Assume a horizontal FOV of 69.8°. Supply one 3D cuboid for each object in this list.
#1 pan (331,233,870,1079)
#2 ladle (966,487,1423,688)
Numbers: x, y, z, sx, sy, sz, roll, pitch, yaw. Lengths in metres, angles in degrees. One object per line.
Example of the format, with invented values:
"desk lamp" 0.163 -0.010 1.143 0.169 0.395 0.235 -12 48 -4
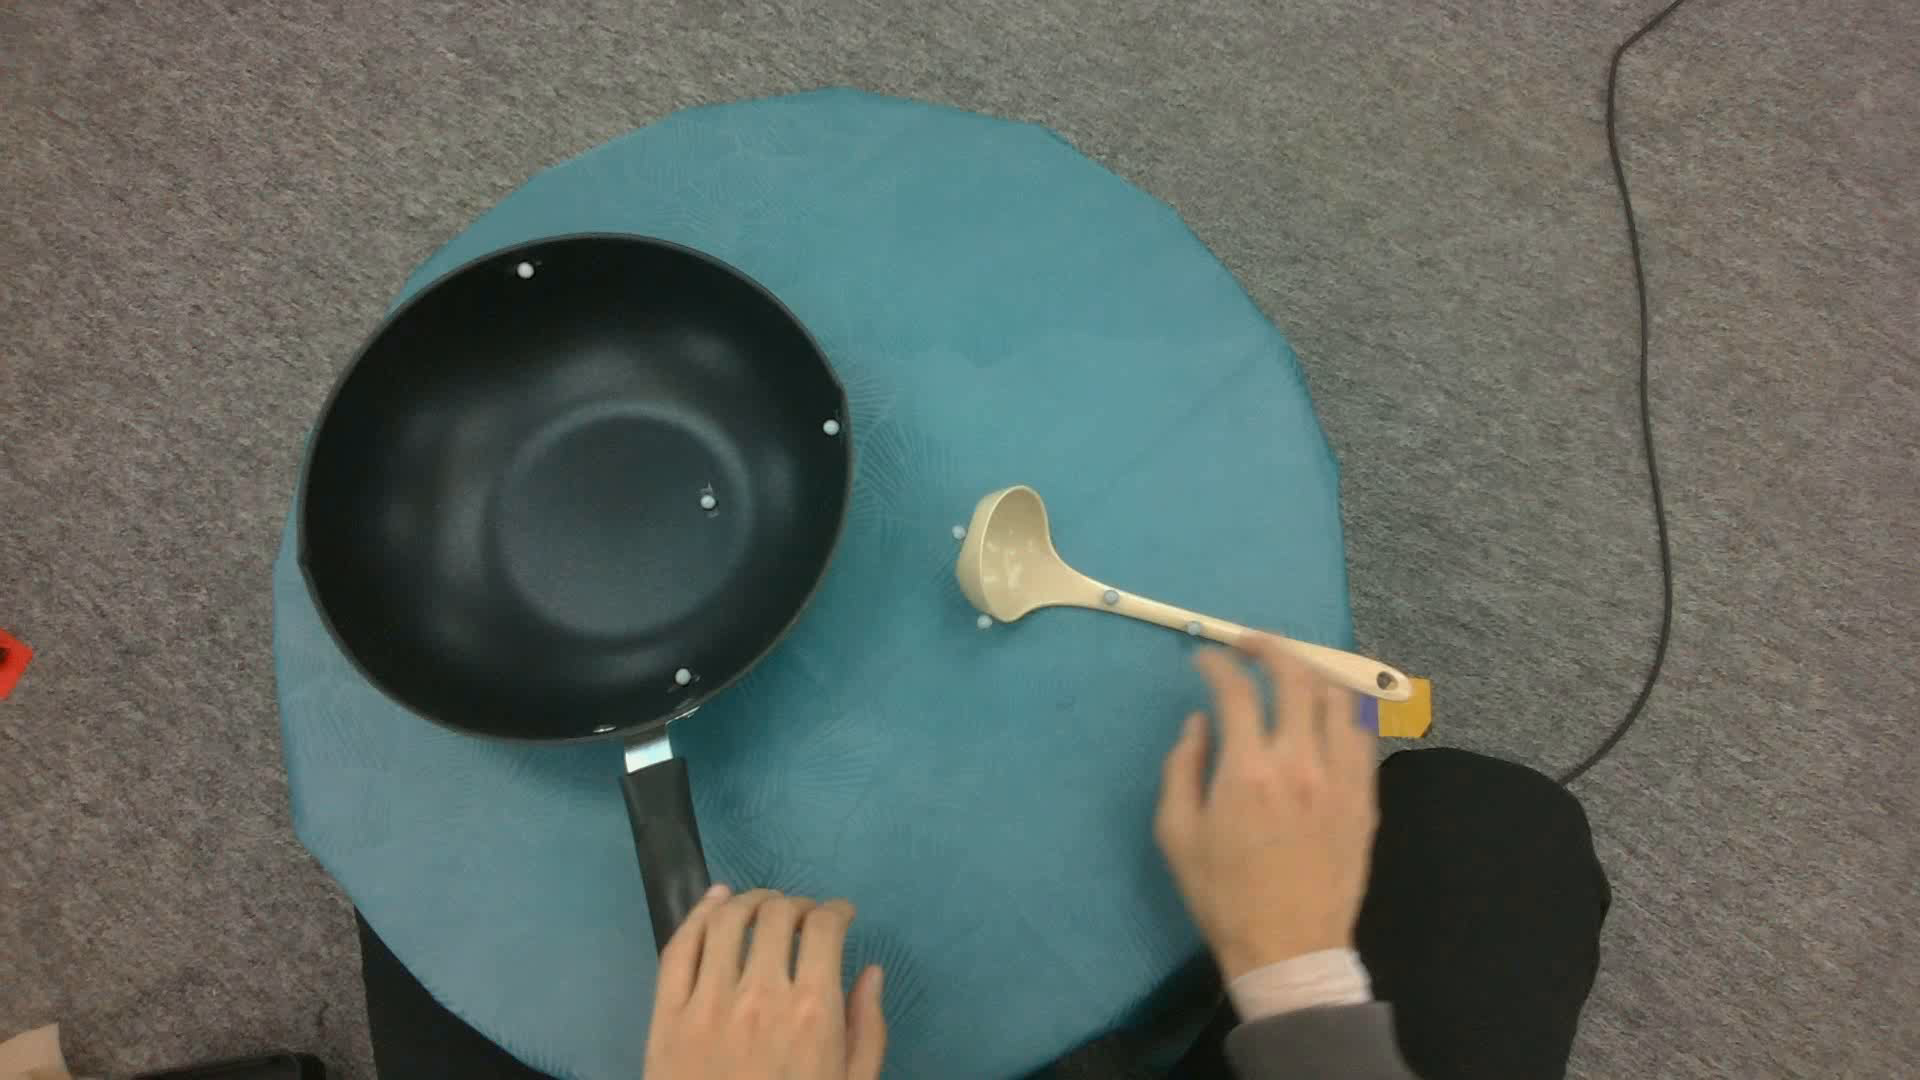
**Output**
"pan" -0.160 0.060 0.726 0.288 0.086 0.464 -17 73 -3
"ladle" 0.129 0.032 0.730 0.254 0.072 0.072 14 70 6
